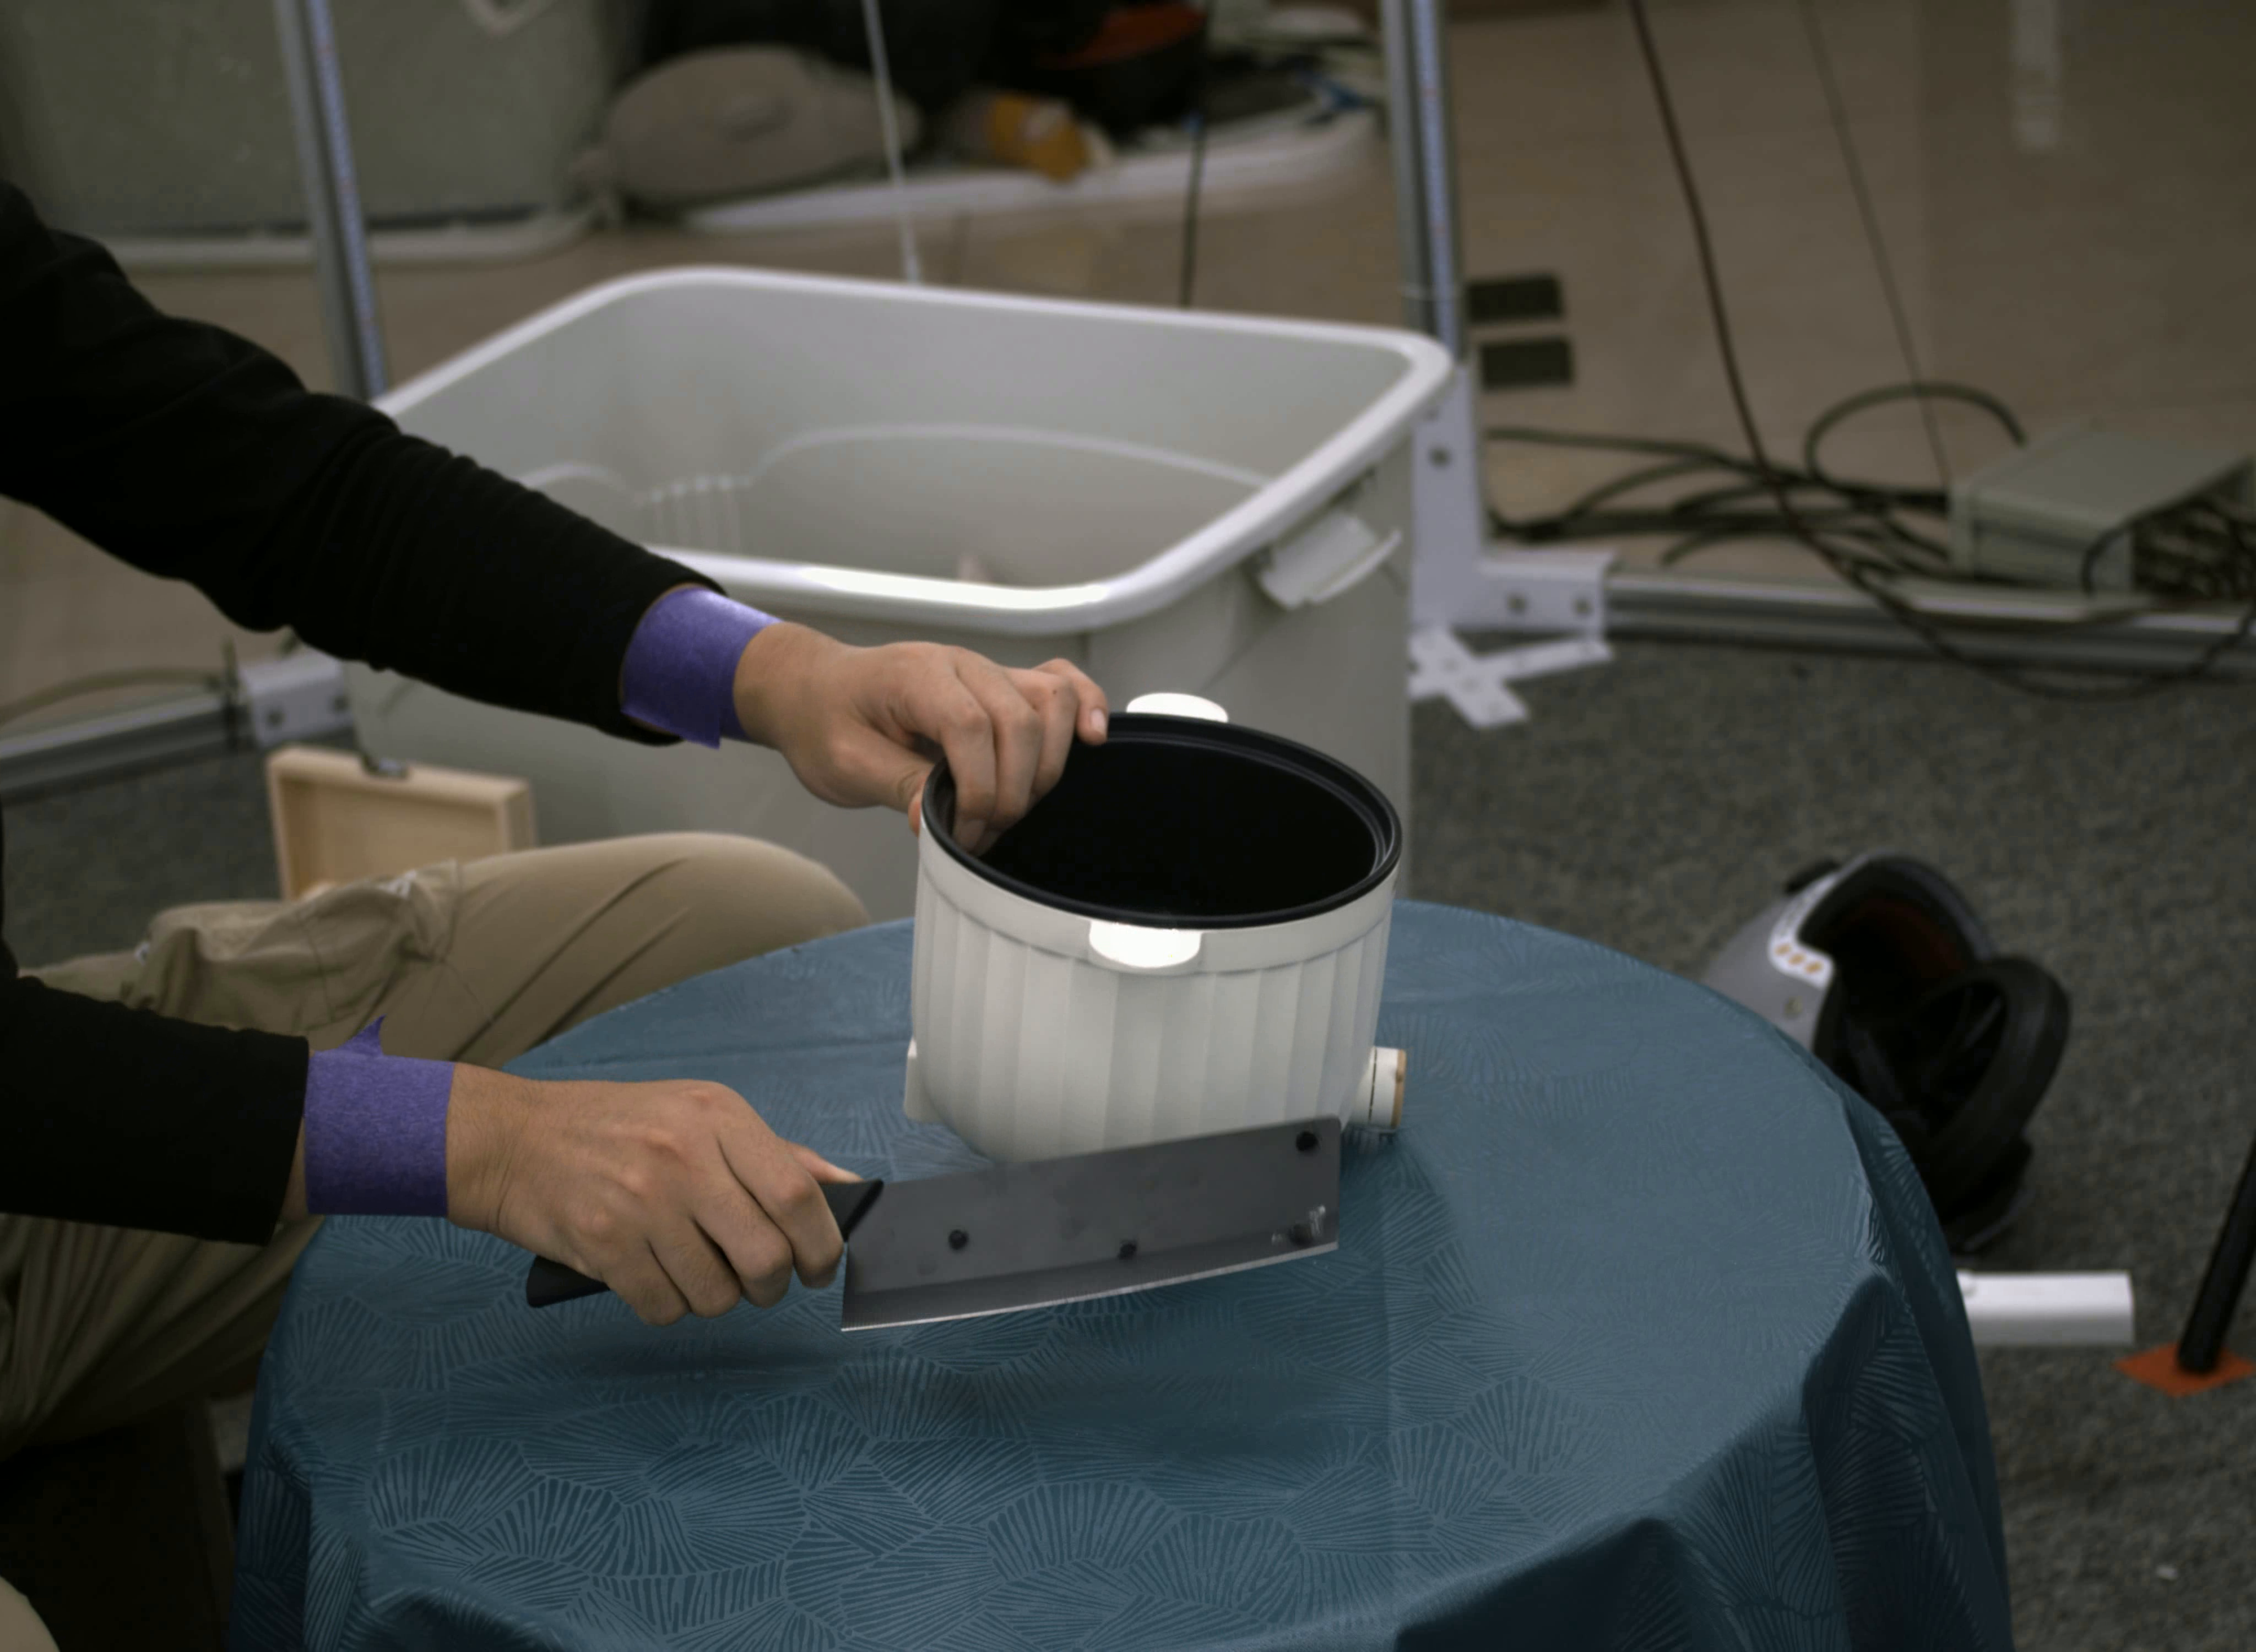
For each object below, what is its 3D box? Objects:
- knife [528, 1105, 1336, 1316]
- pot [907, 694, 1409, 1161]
[{"bbox_3d":[-0.070,0.142,2.008,0.302,0.021,0.079,-6,46,17],"label":"knife"},{"bbox_3d":[0.013,0.054,2.146,0.190,0.145,0.237,3,27,2],"label":"pot"}]
